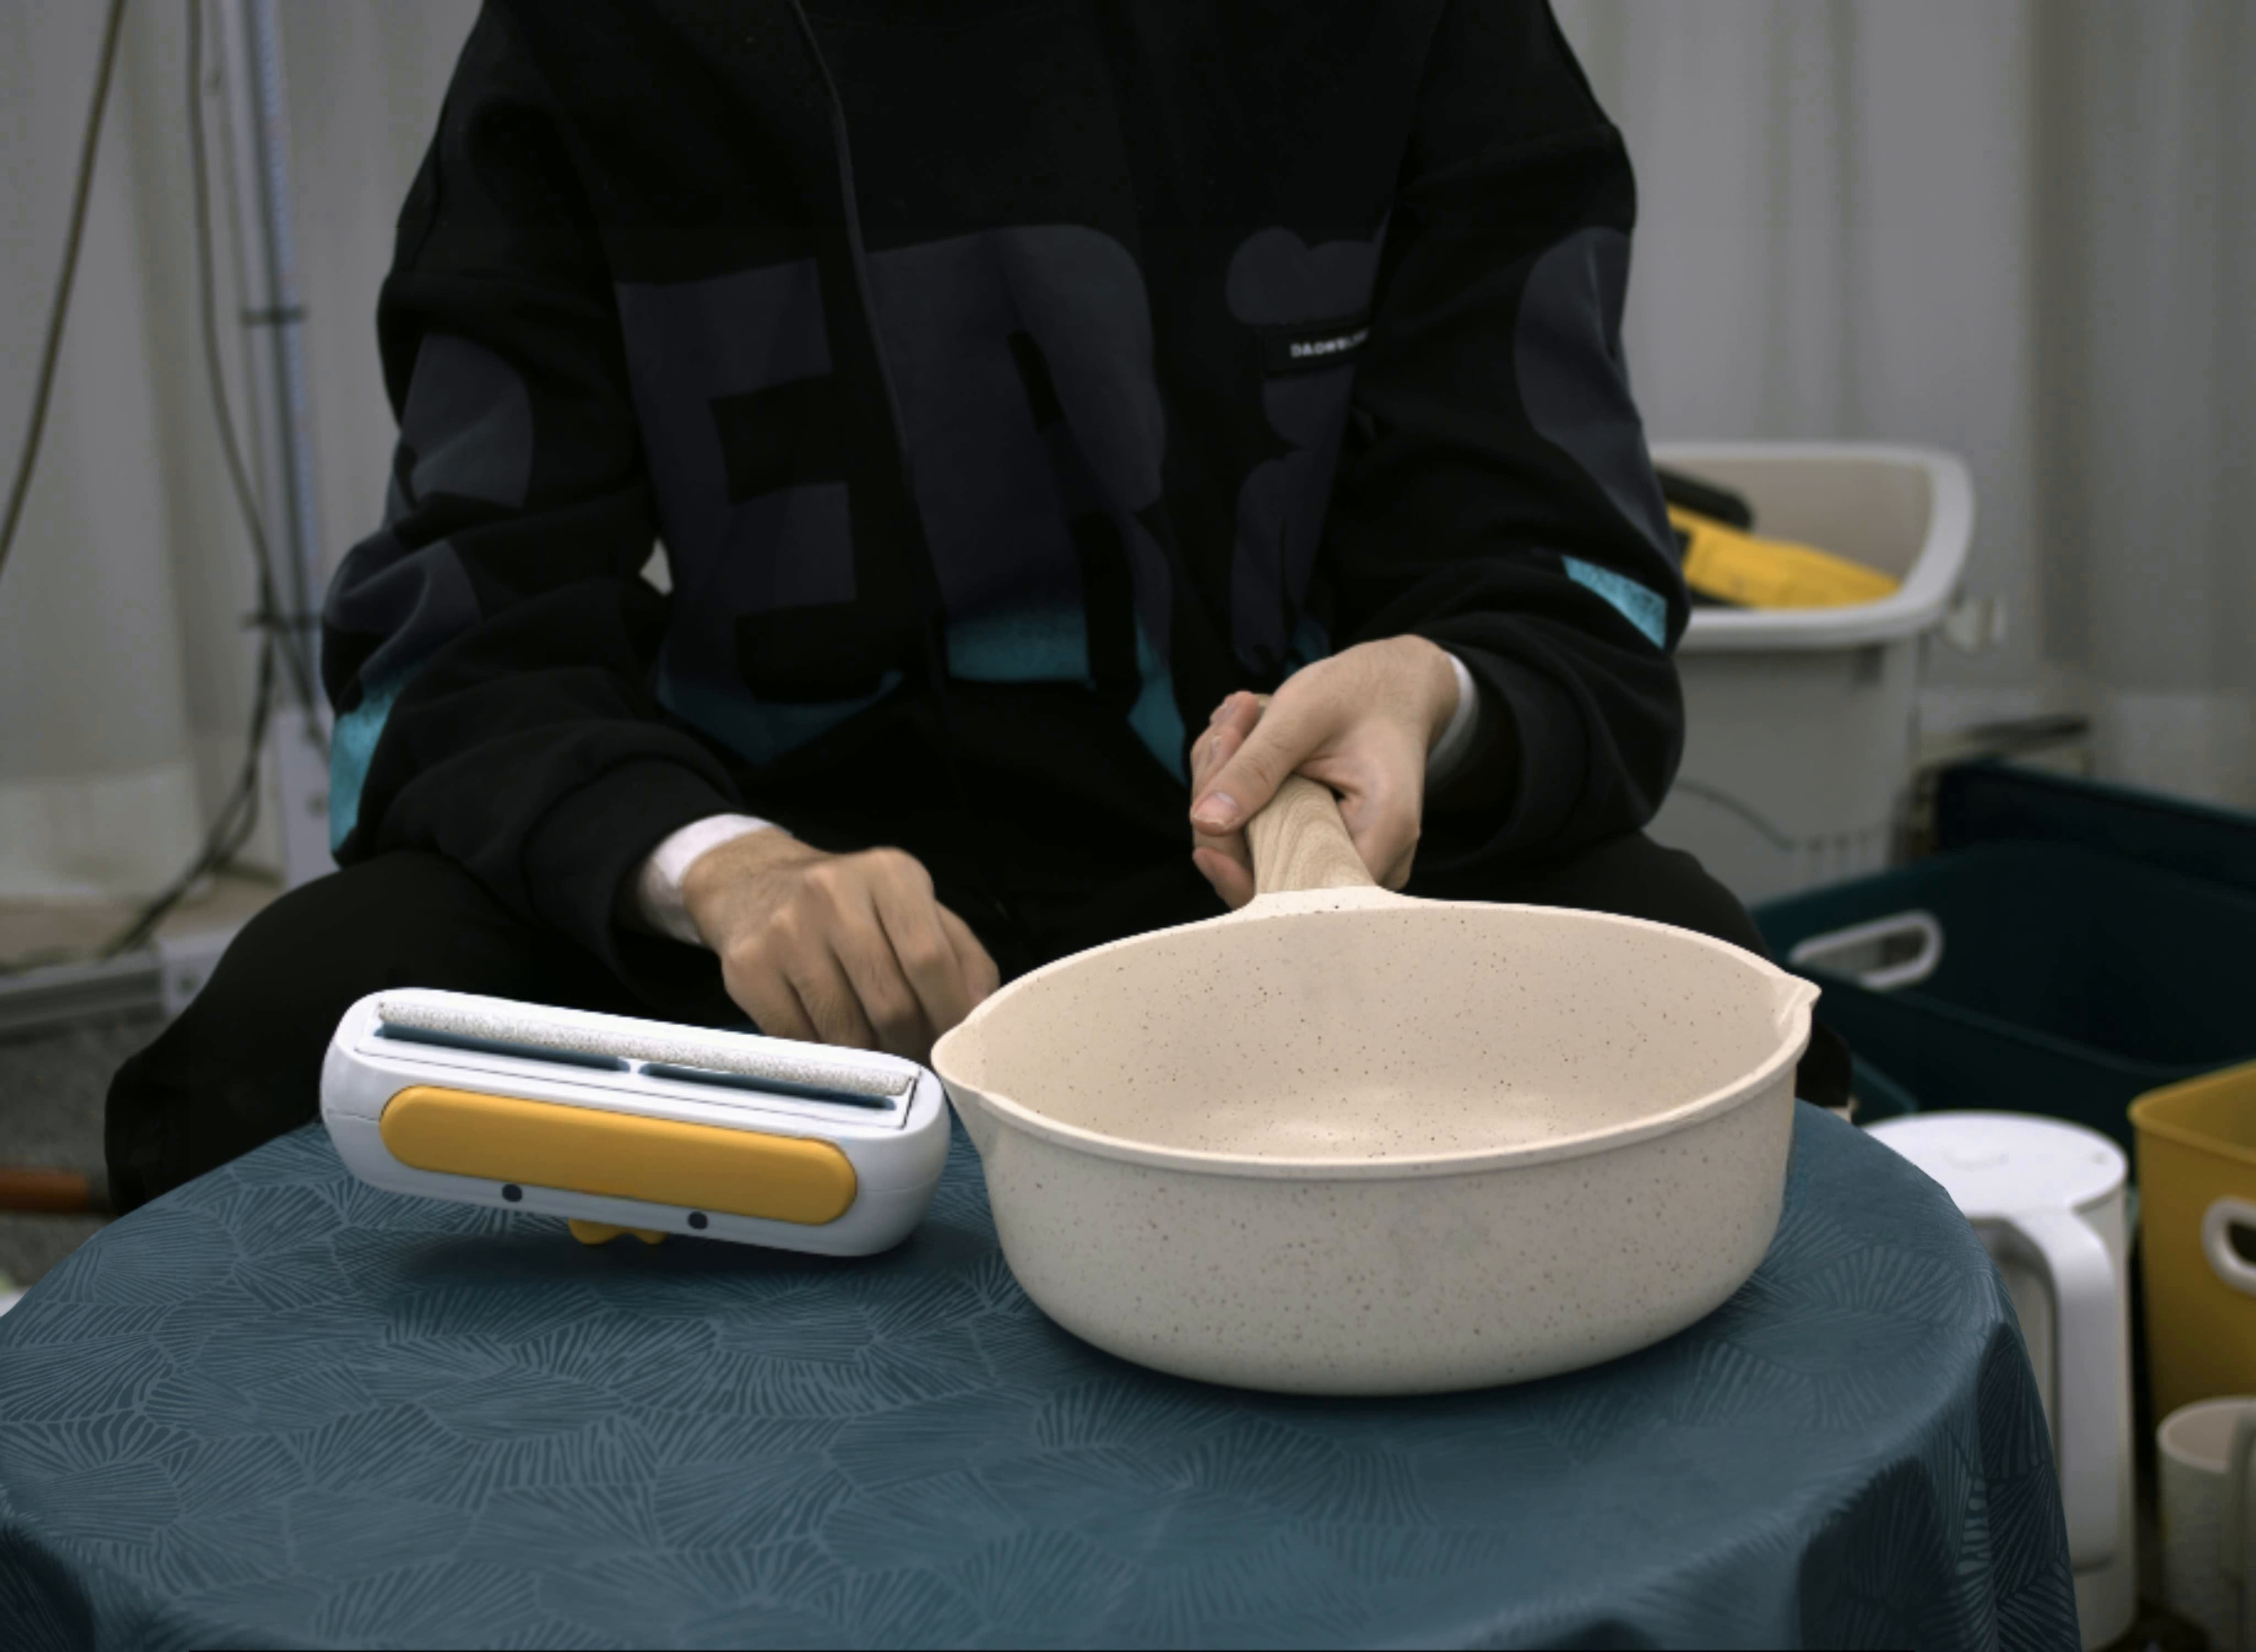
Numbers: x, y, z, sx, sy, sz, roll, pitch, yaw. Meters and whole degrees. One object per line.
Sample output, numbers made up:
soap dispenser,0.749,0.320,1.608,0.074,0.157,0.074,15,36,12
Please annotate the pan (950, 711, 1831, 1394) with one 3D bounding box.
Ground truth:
pan,0.070,0.064,1.696,0.262,0.101,0.438,-7,15,-5

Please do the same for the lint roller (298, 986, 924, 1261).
lint roller,-0.150,0.083,1.732,0.192,0.074,0.193,4,14,7
